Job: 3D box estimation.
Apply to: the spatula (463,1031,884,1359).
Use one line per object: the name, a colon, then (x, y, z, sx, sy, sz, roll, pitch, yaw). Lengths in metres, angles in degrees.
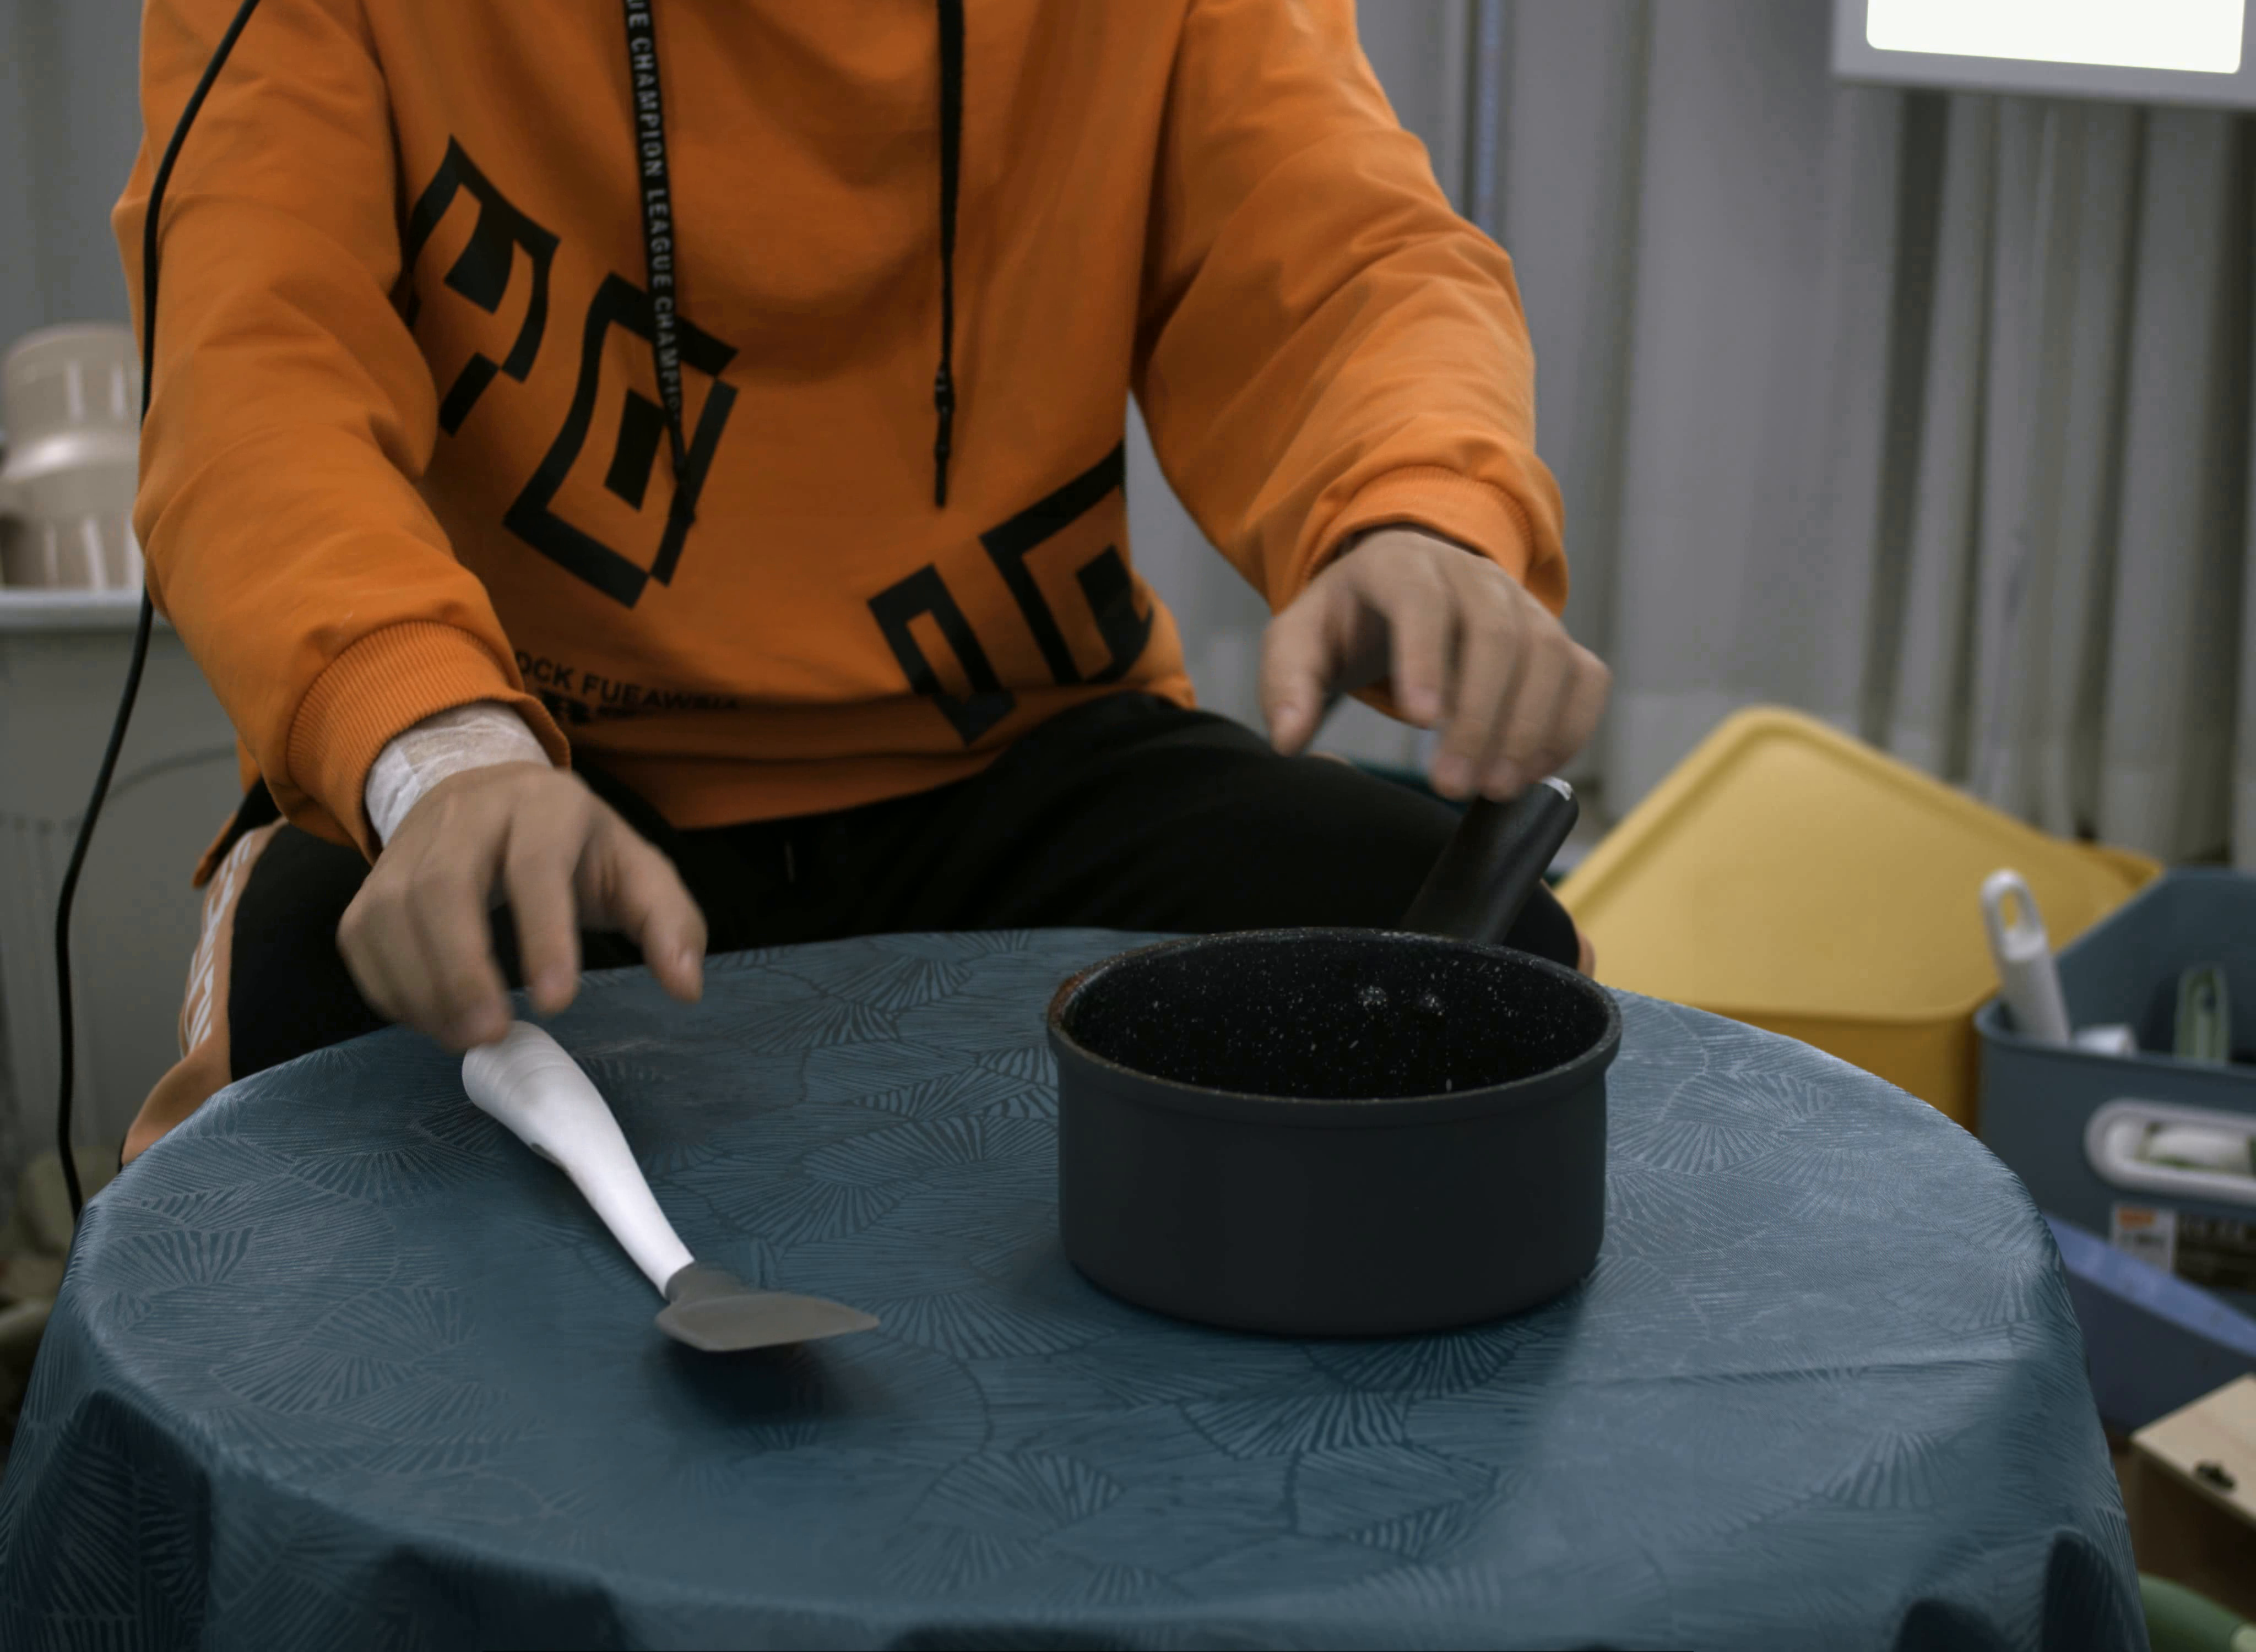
spatula: (-0.142, 0.114, 1.553, 0.059, 0.032, 0.284, -2, 15, -23)

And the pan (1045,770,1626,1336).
pan: (0.088, 0.066, 1.634, 0.170, 0.087, 0.329, 7, 19, 19)
